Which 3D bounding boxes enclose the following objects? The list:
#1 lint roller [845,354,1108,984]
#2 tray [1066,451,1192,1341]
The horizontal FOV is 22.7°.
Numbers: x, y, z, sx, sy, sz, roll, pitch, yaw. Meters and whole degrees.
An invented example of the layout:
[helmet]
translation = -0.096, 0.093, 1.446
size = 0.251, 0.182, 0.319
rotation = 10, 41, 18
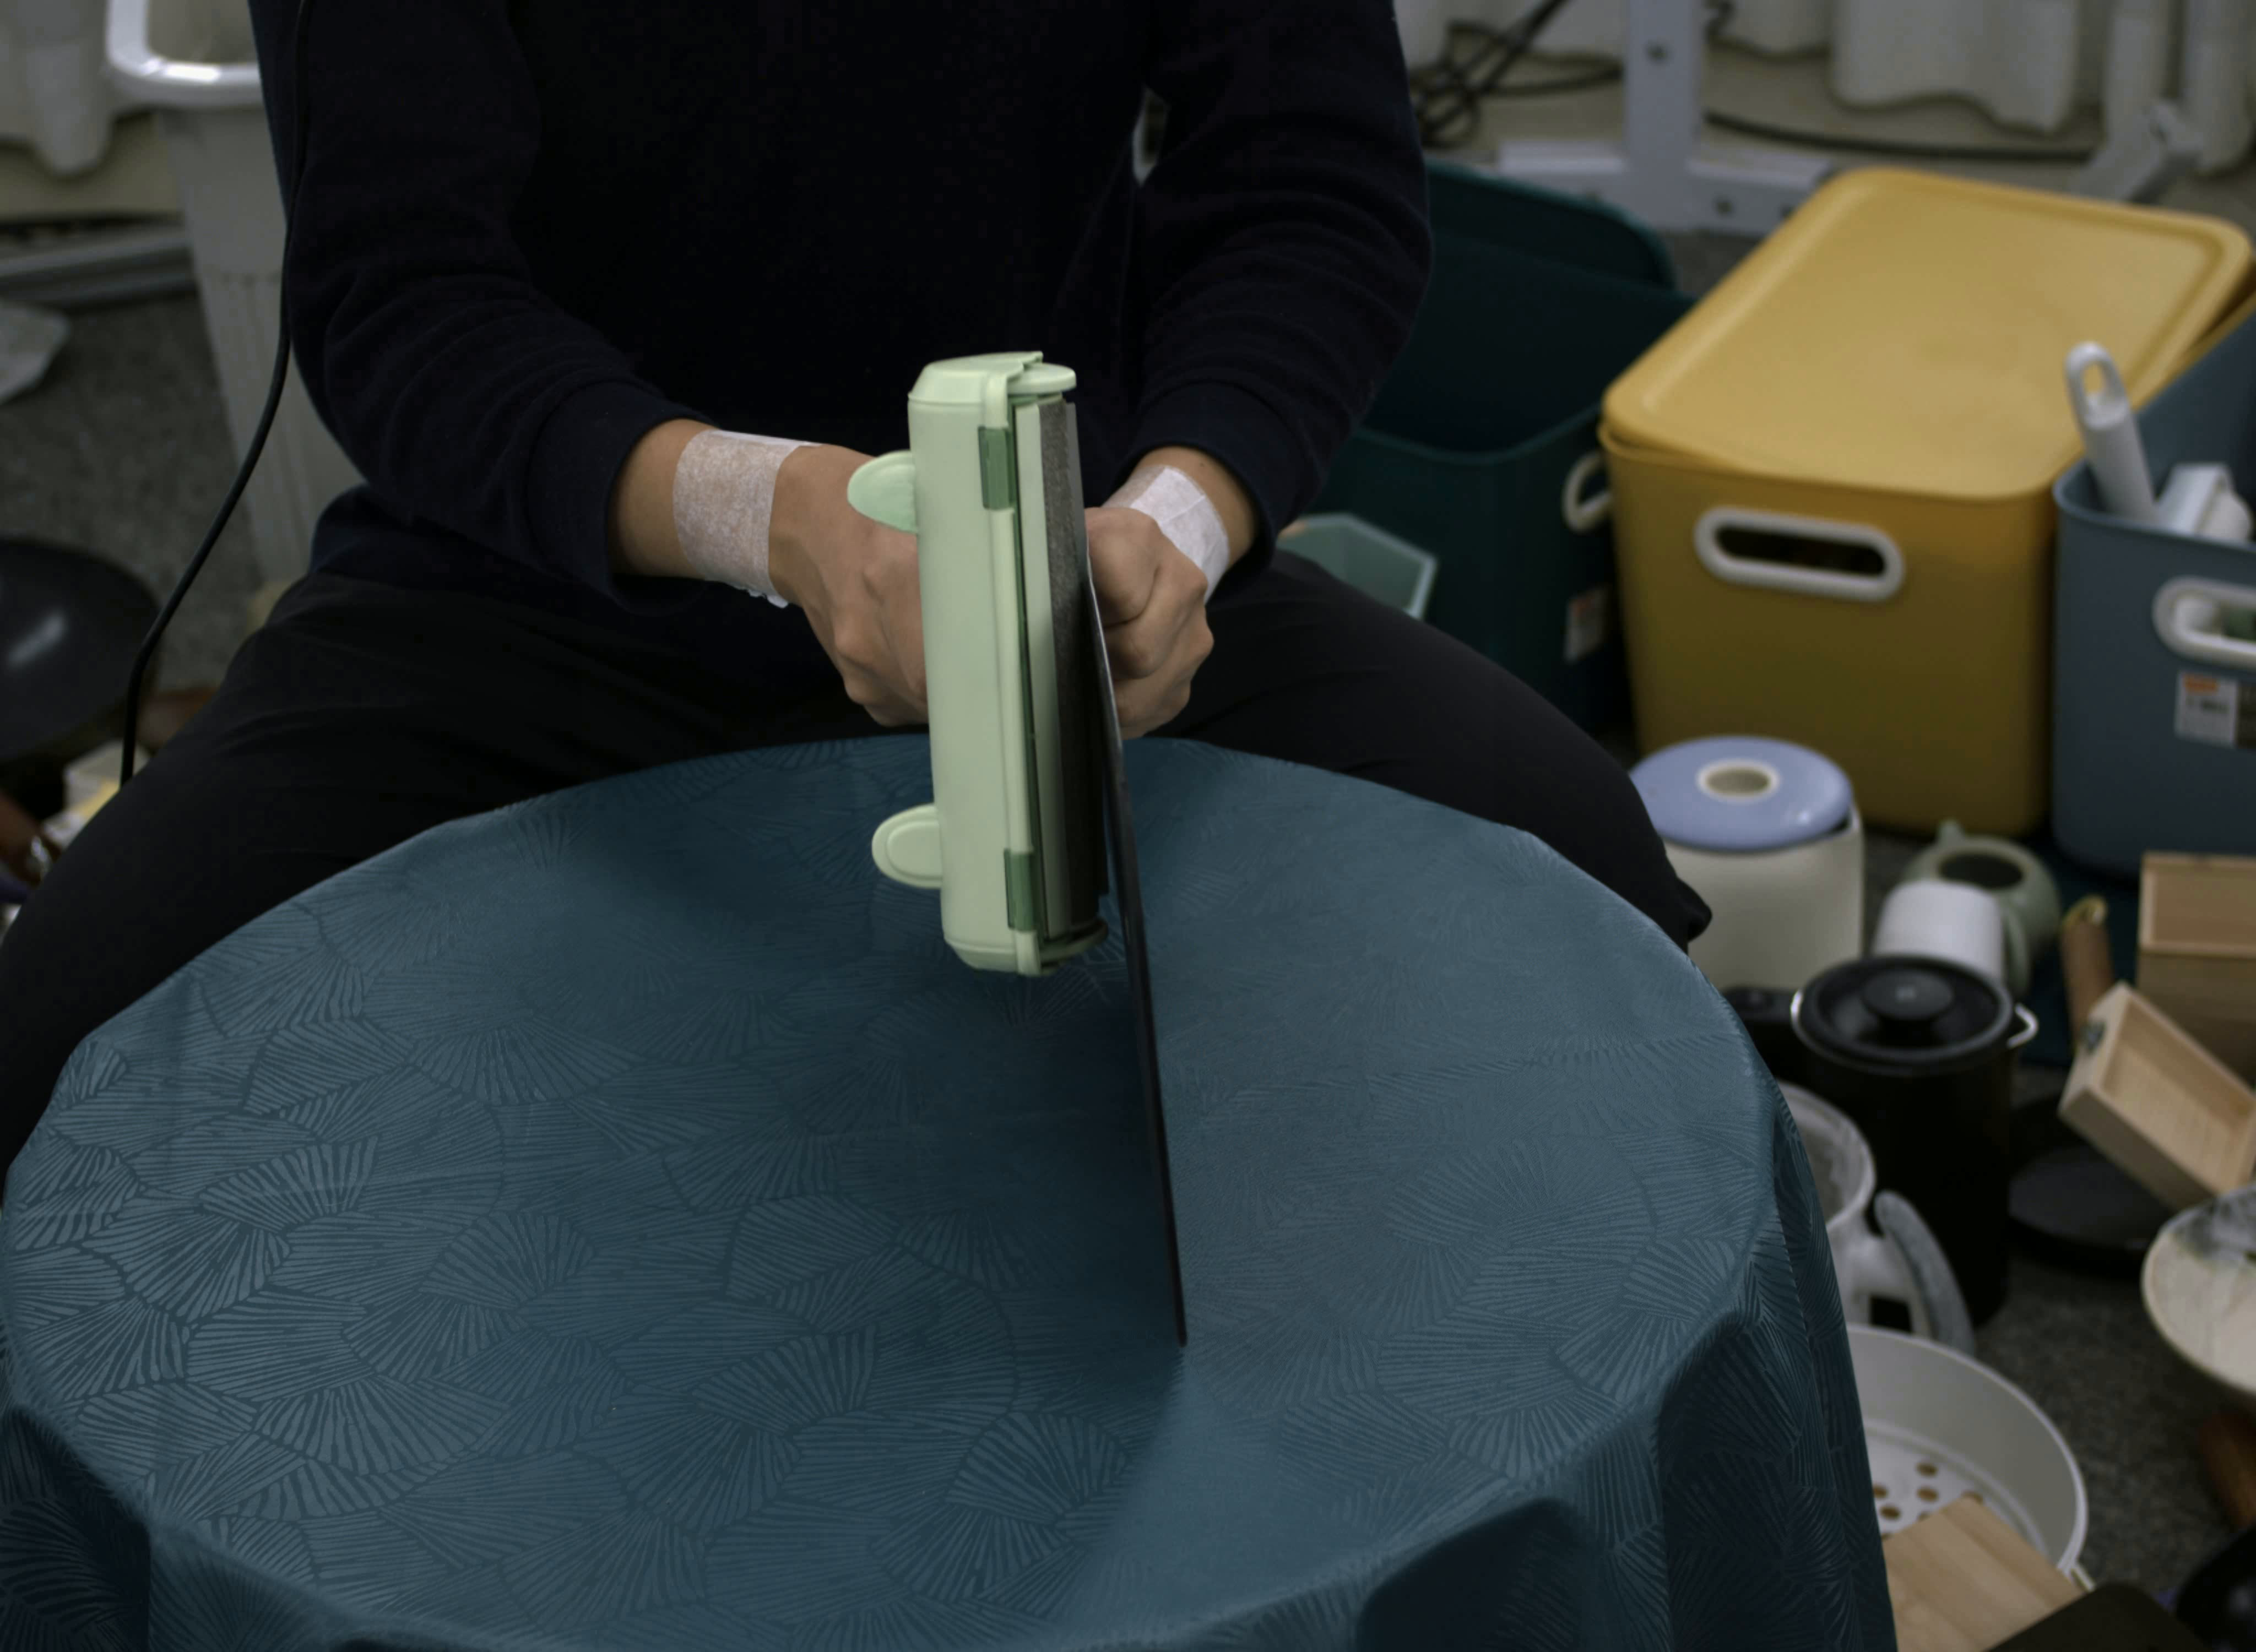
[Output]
[lint roller]
translation = -0.065, -0.058, 1.848
size = 0.082, 0.198, 0.183
rotation = -6, 10, -21
[tray]
translation = -0.002, 0.011, 1.848
size = 0.010, 0.209, 0.330
rotation = -7, 27, -2
